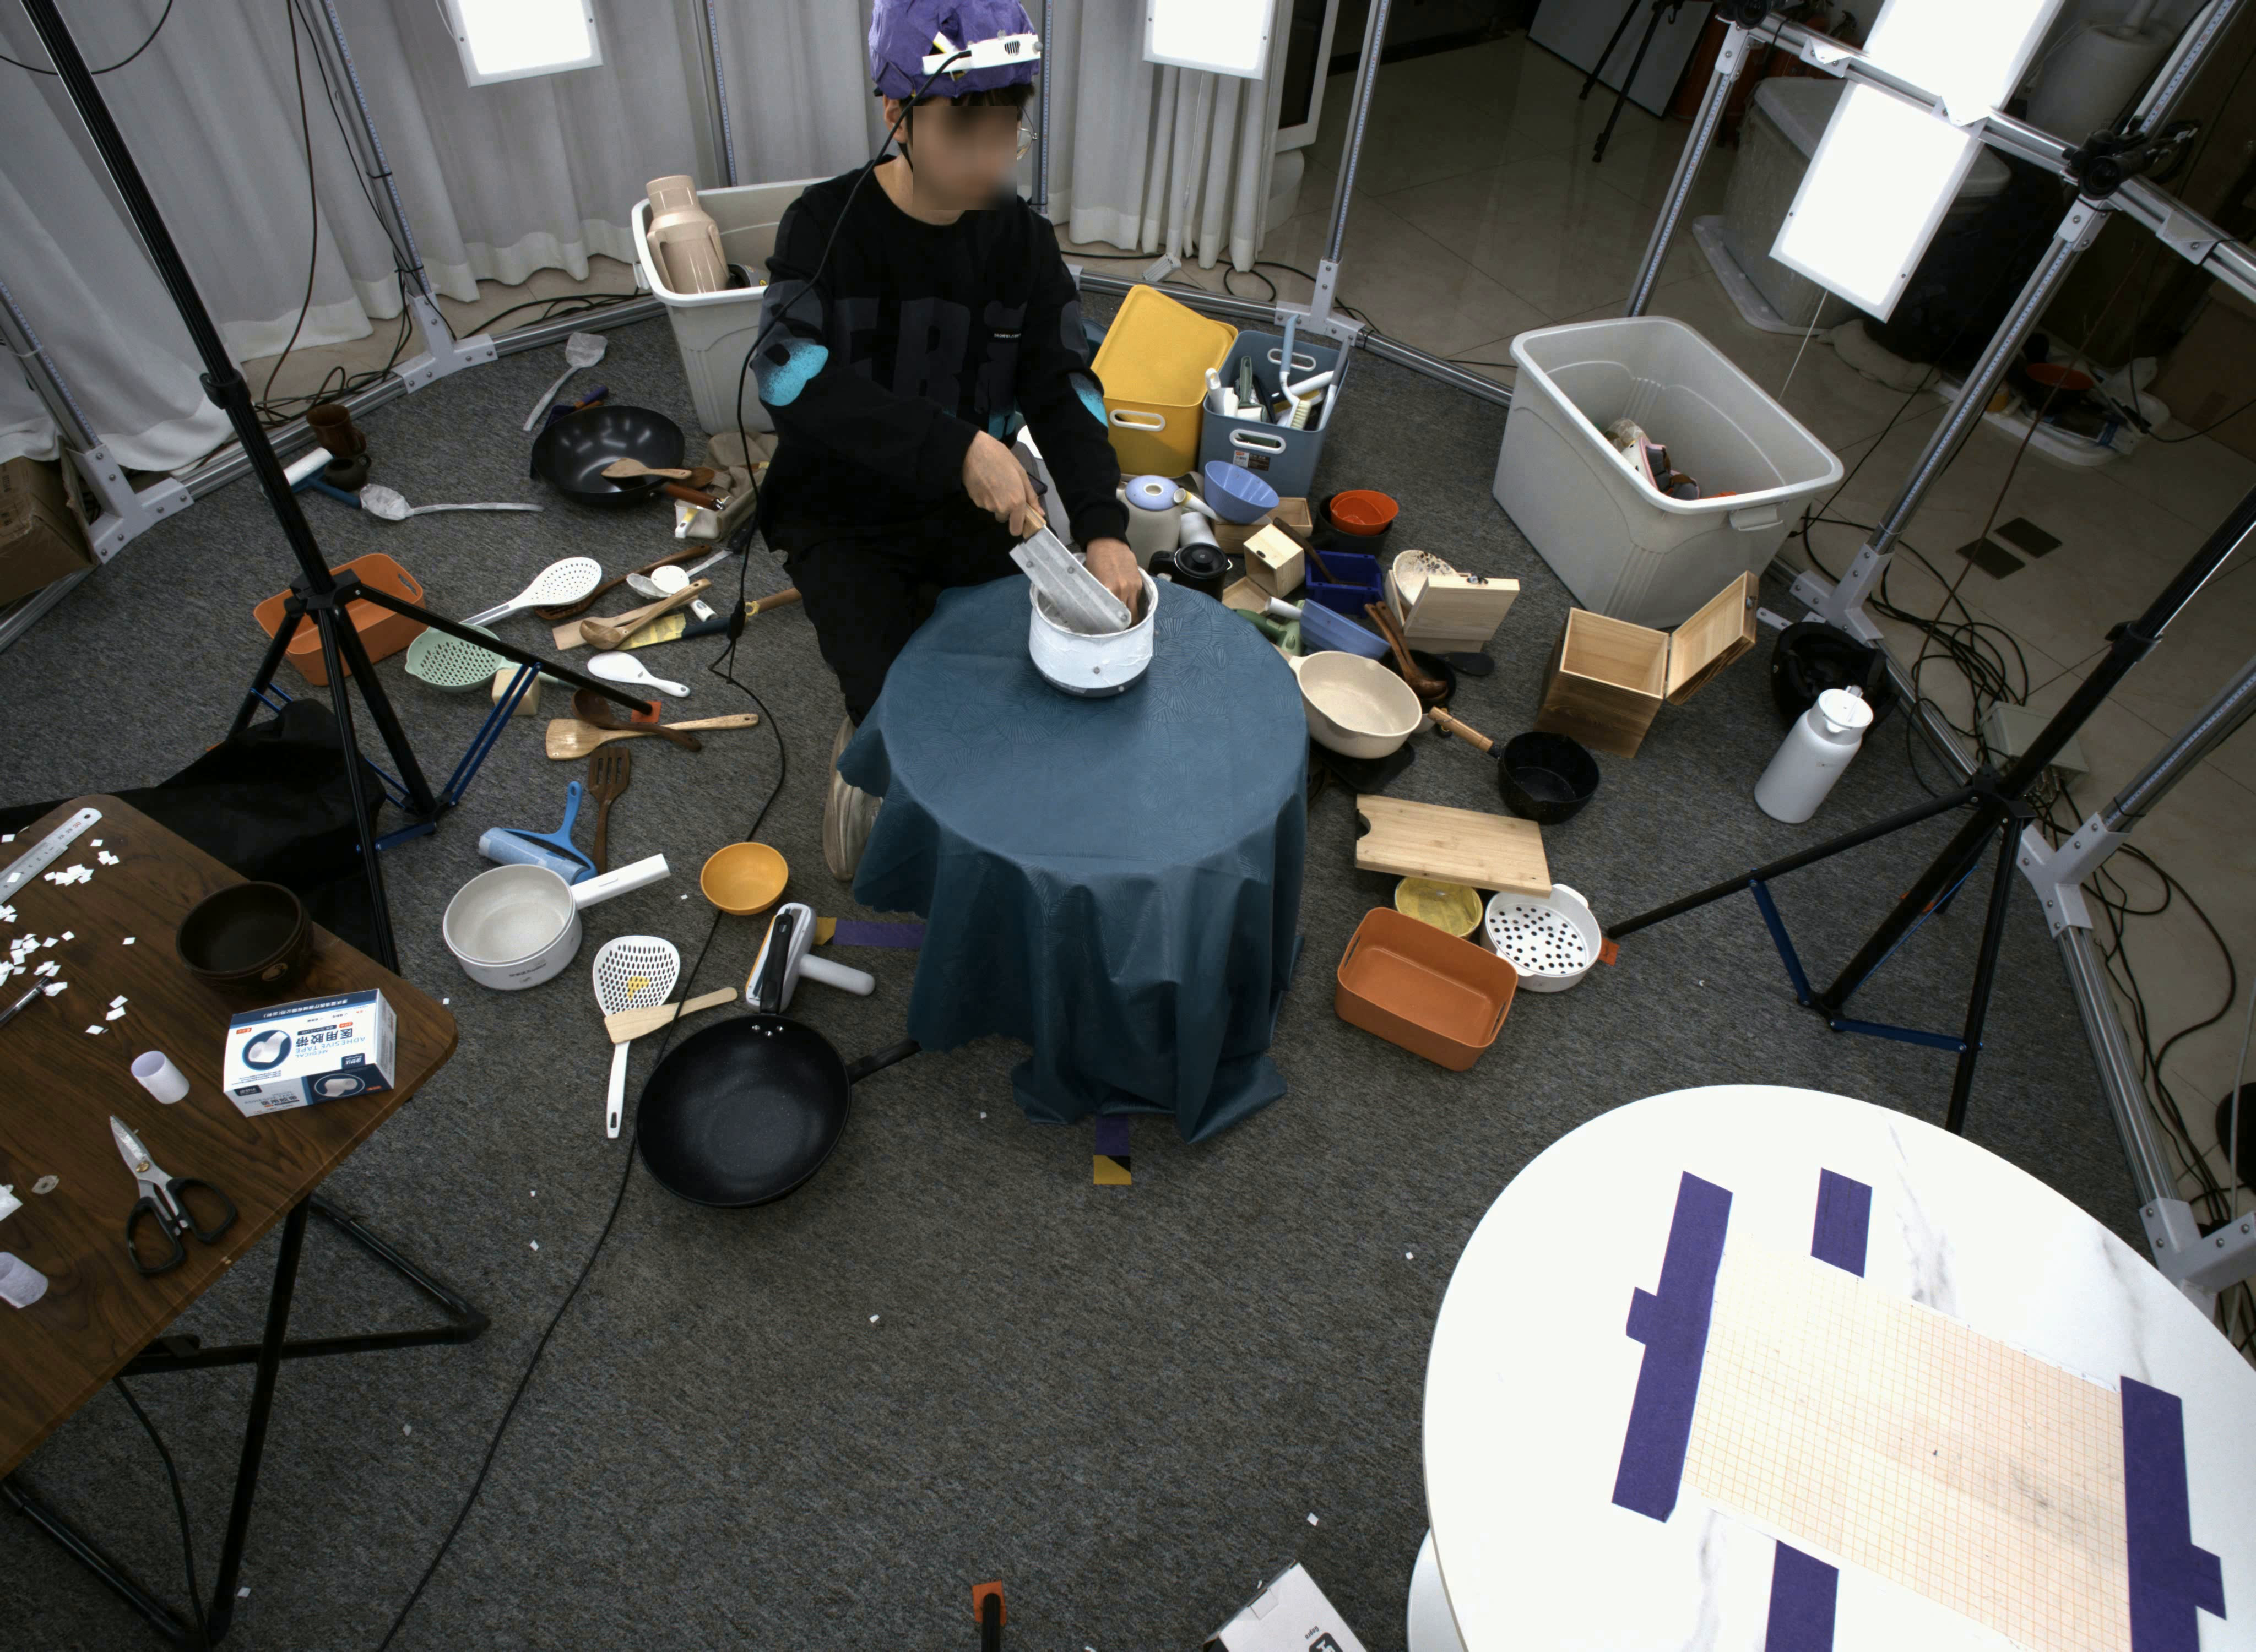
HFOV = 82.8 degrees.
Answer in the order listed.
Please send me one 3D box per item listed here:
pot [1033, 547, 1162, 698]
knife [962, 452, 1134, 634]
[{"bbox_3d":[-0.060,-0.300,1.836,0.179,0.133,0.238,-21,55,-22],"label":"pot"},{"bbox_3d":[-0.109,-0.369,1.733,0.313,0.113,0.022,50,49,-11],"label":"knife"}]
